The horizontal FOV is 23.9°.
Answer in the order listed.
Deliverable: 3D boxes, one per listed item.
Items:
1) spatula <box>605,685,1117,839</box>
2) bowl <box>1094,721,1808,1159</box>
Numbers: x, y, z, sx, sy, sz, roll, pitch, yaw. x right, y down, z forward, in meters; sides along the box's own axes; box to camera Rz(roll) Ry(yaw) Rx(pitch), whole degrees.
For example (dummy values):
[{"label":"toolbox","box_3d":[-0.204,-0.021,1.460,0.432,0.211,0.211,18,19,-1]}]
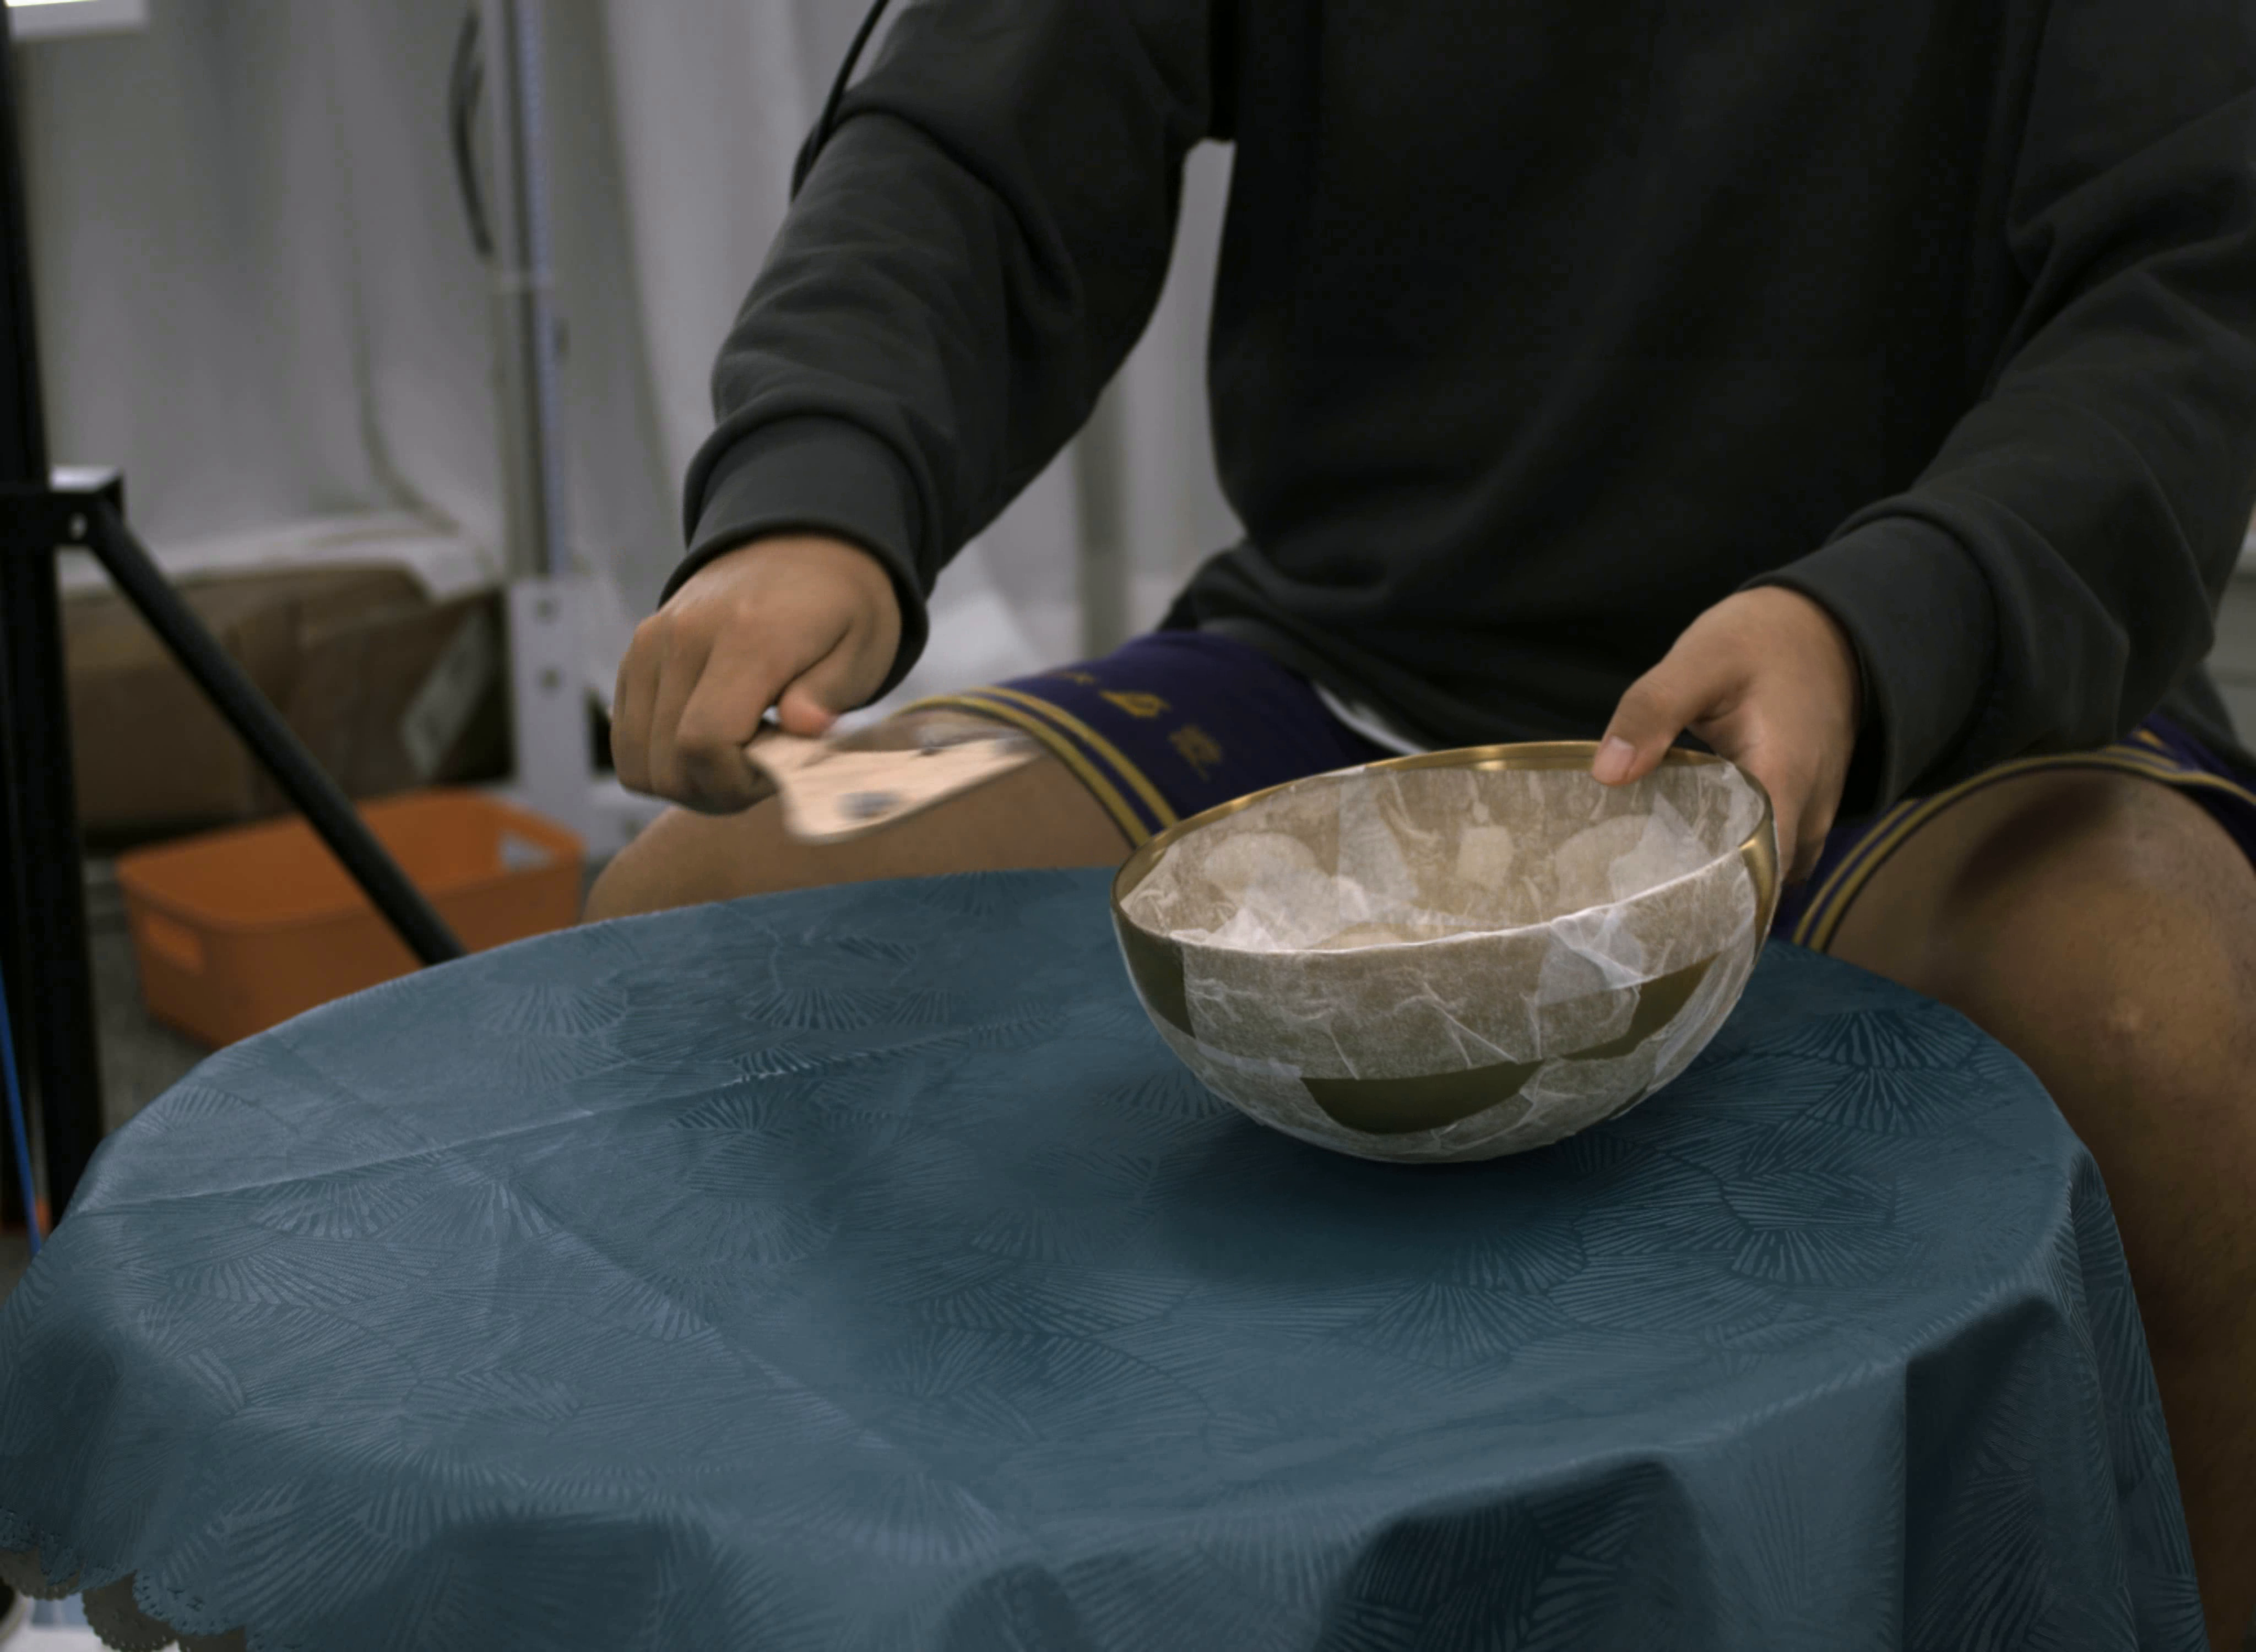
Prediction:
[{"label":"spatula","box_3d":[-0.098,-0.027,1.642,0.079,0.016,0.333,-23,16,-21]},{"label":"bowl","box_3d":[0.100,0.043,1.585,0.214,0.094,0.216,-10,16,1]}]
